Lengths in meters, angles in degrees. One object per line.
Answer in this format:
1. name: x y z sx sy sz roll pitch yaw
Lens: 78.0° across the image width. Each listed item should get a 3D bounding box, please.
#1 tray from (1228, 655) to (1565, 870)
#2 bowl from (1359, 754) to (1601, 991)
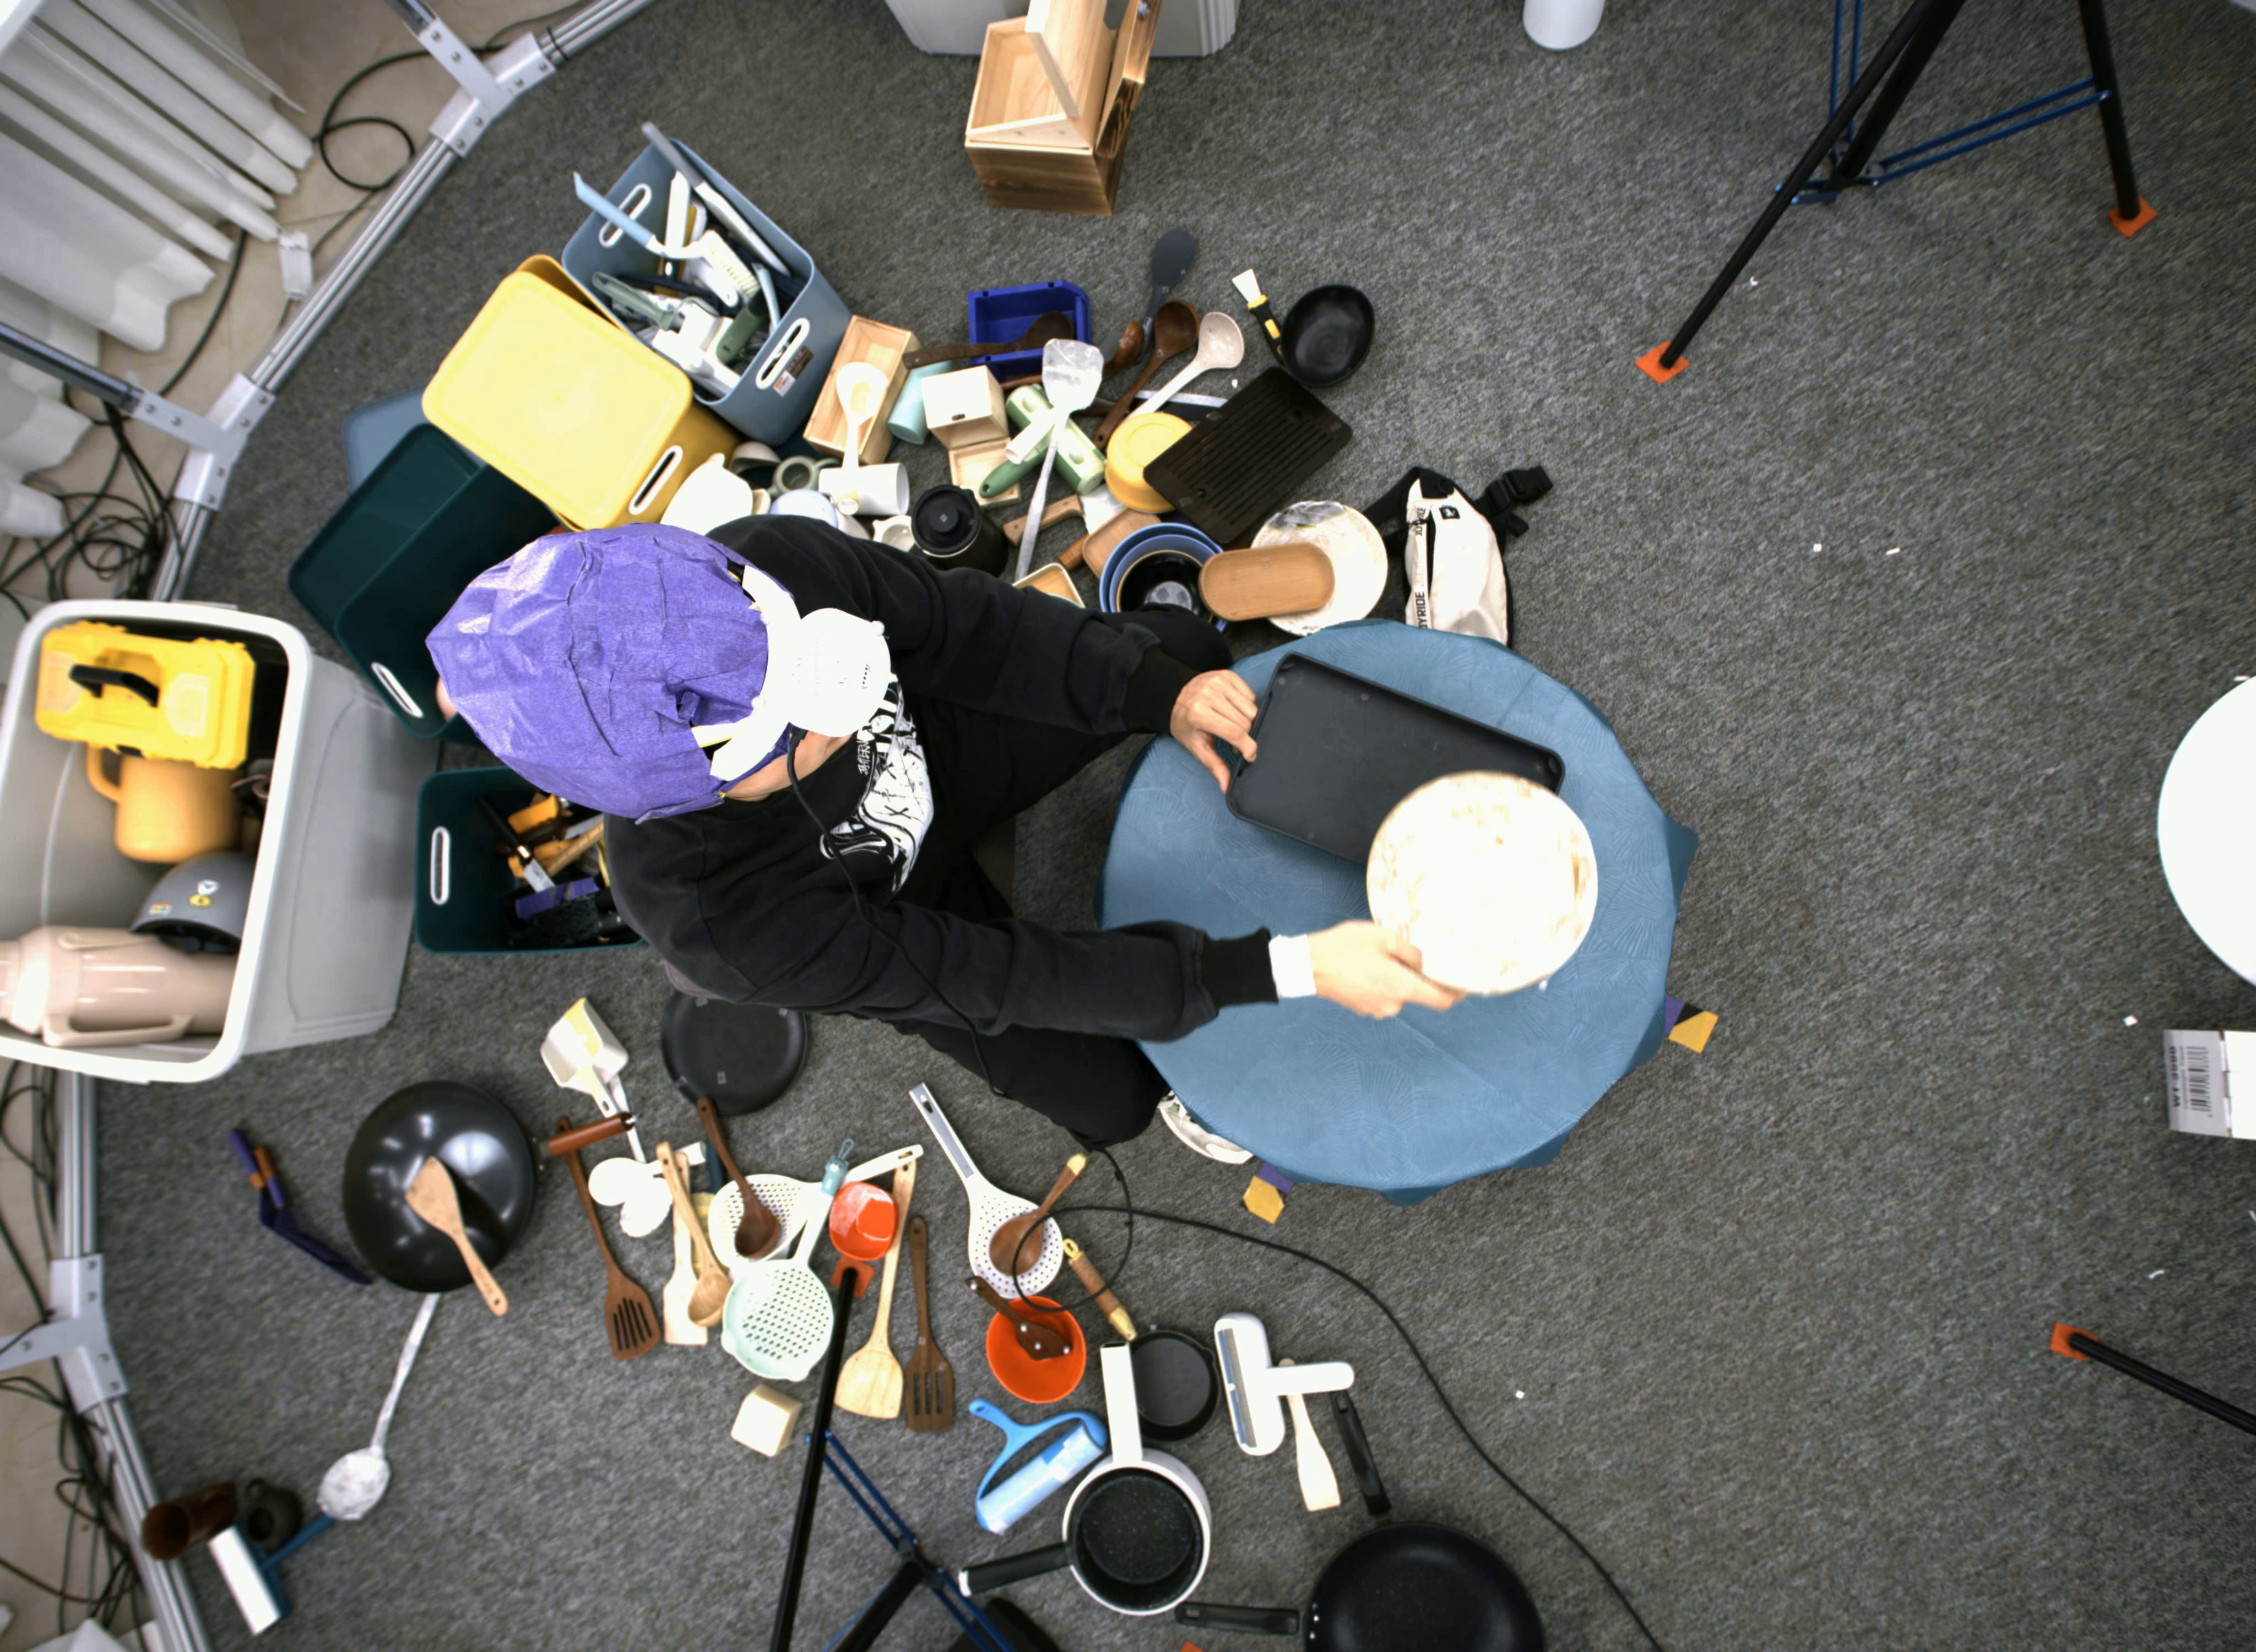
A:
1. tray: 0.276 -0.040 1.427 0.318 0.037 0.184 22 88 1
2. bowl: 0.324 0.047 1.271 0.216 0.094 0.213 -2 84 16
